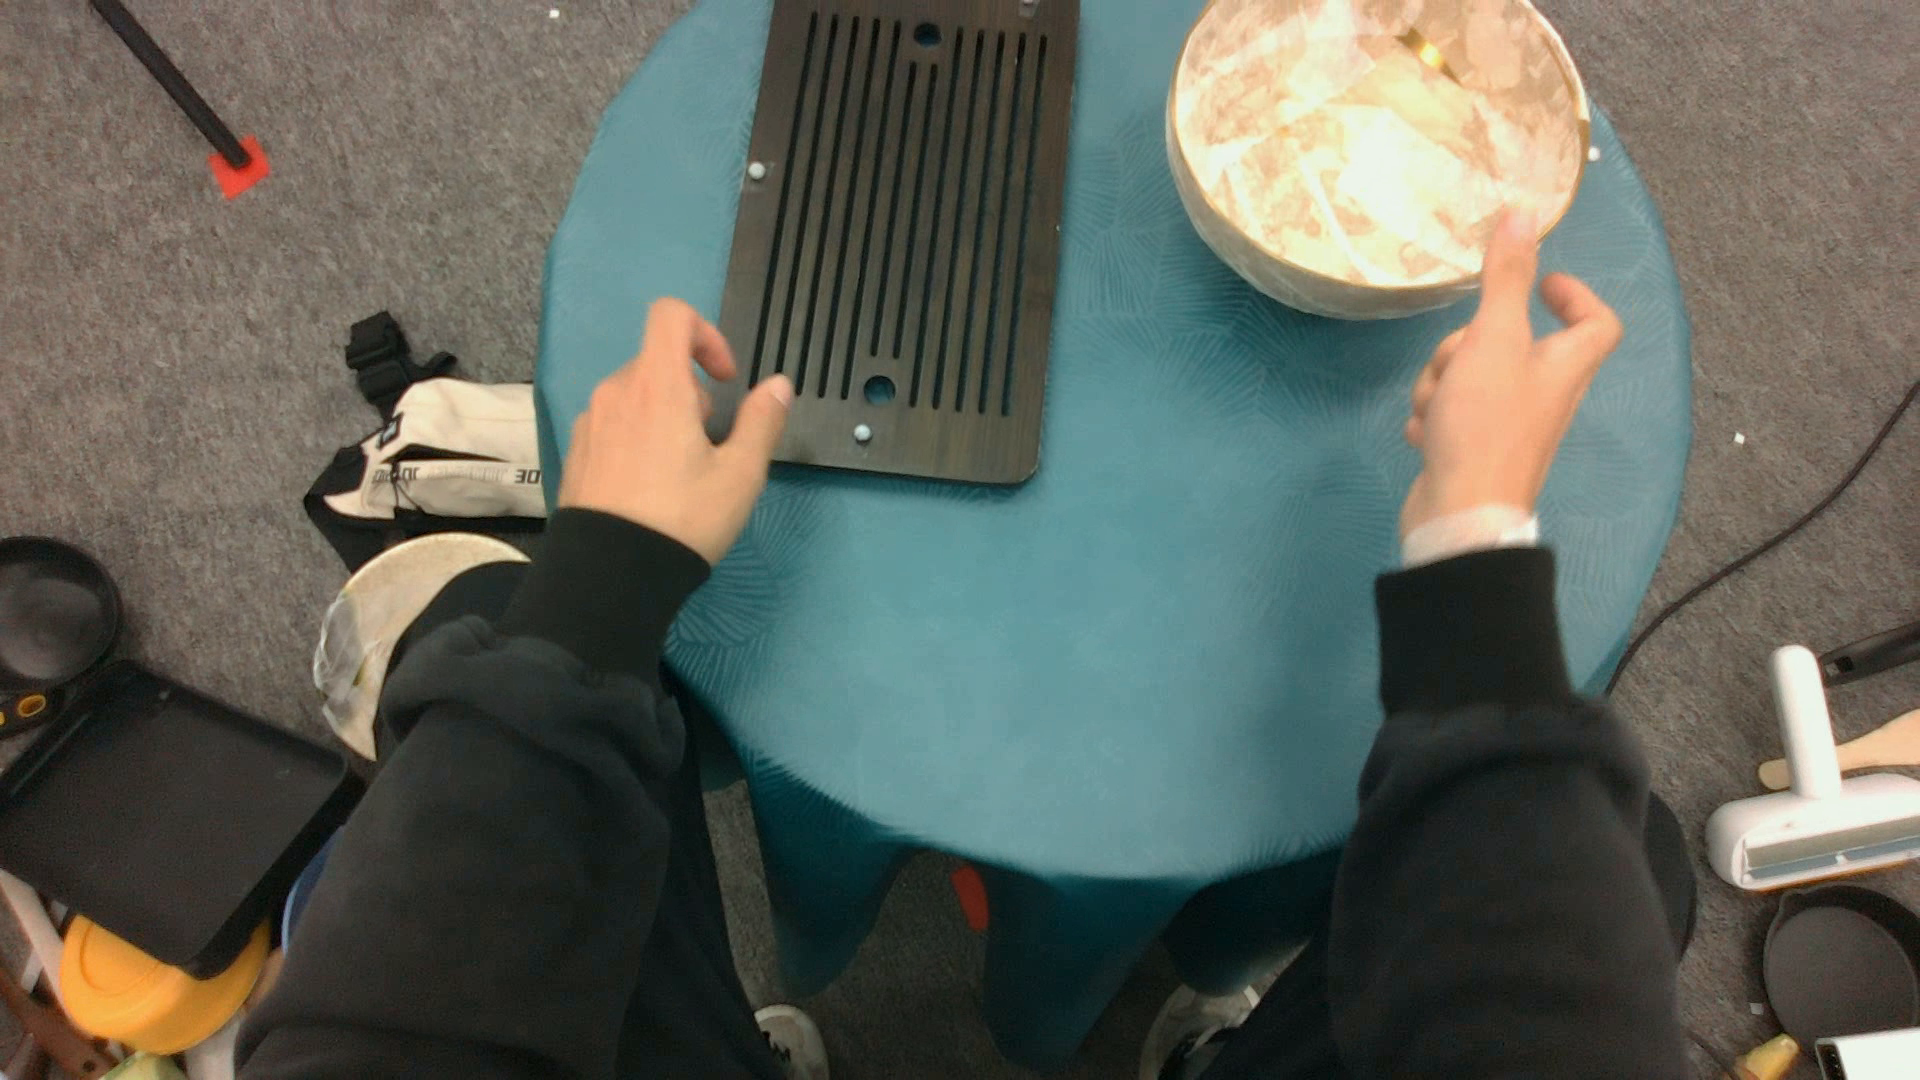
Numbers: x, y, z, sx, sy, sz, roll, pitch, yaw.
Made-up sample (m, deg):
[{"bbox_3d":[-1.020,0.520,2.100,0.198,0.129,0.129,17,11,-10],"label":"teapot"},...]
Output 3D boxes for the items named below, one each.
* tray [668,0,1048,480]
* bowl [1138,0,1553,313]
[{"bbox_3d":[-0.048,-0.178,0.731,0.170,0.018,0.307,6,70,0],"label":"tray"},{"bbox_3d":[0.183,-0.196,0.707,0.215,0.094,0.215,1,70,-3],"label":"bowl"}]
